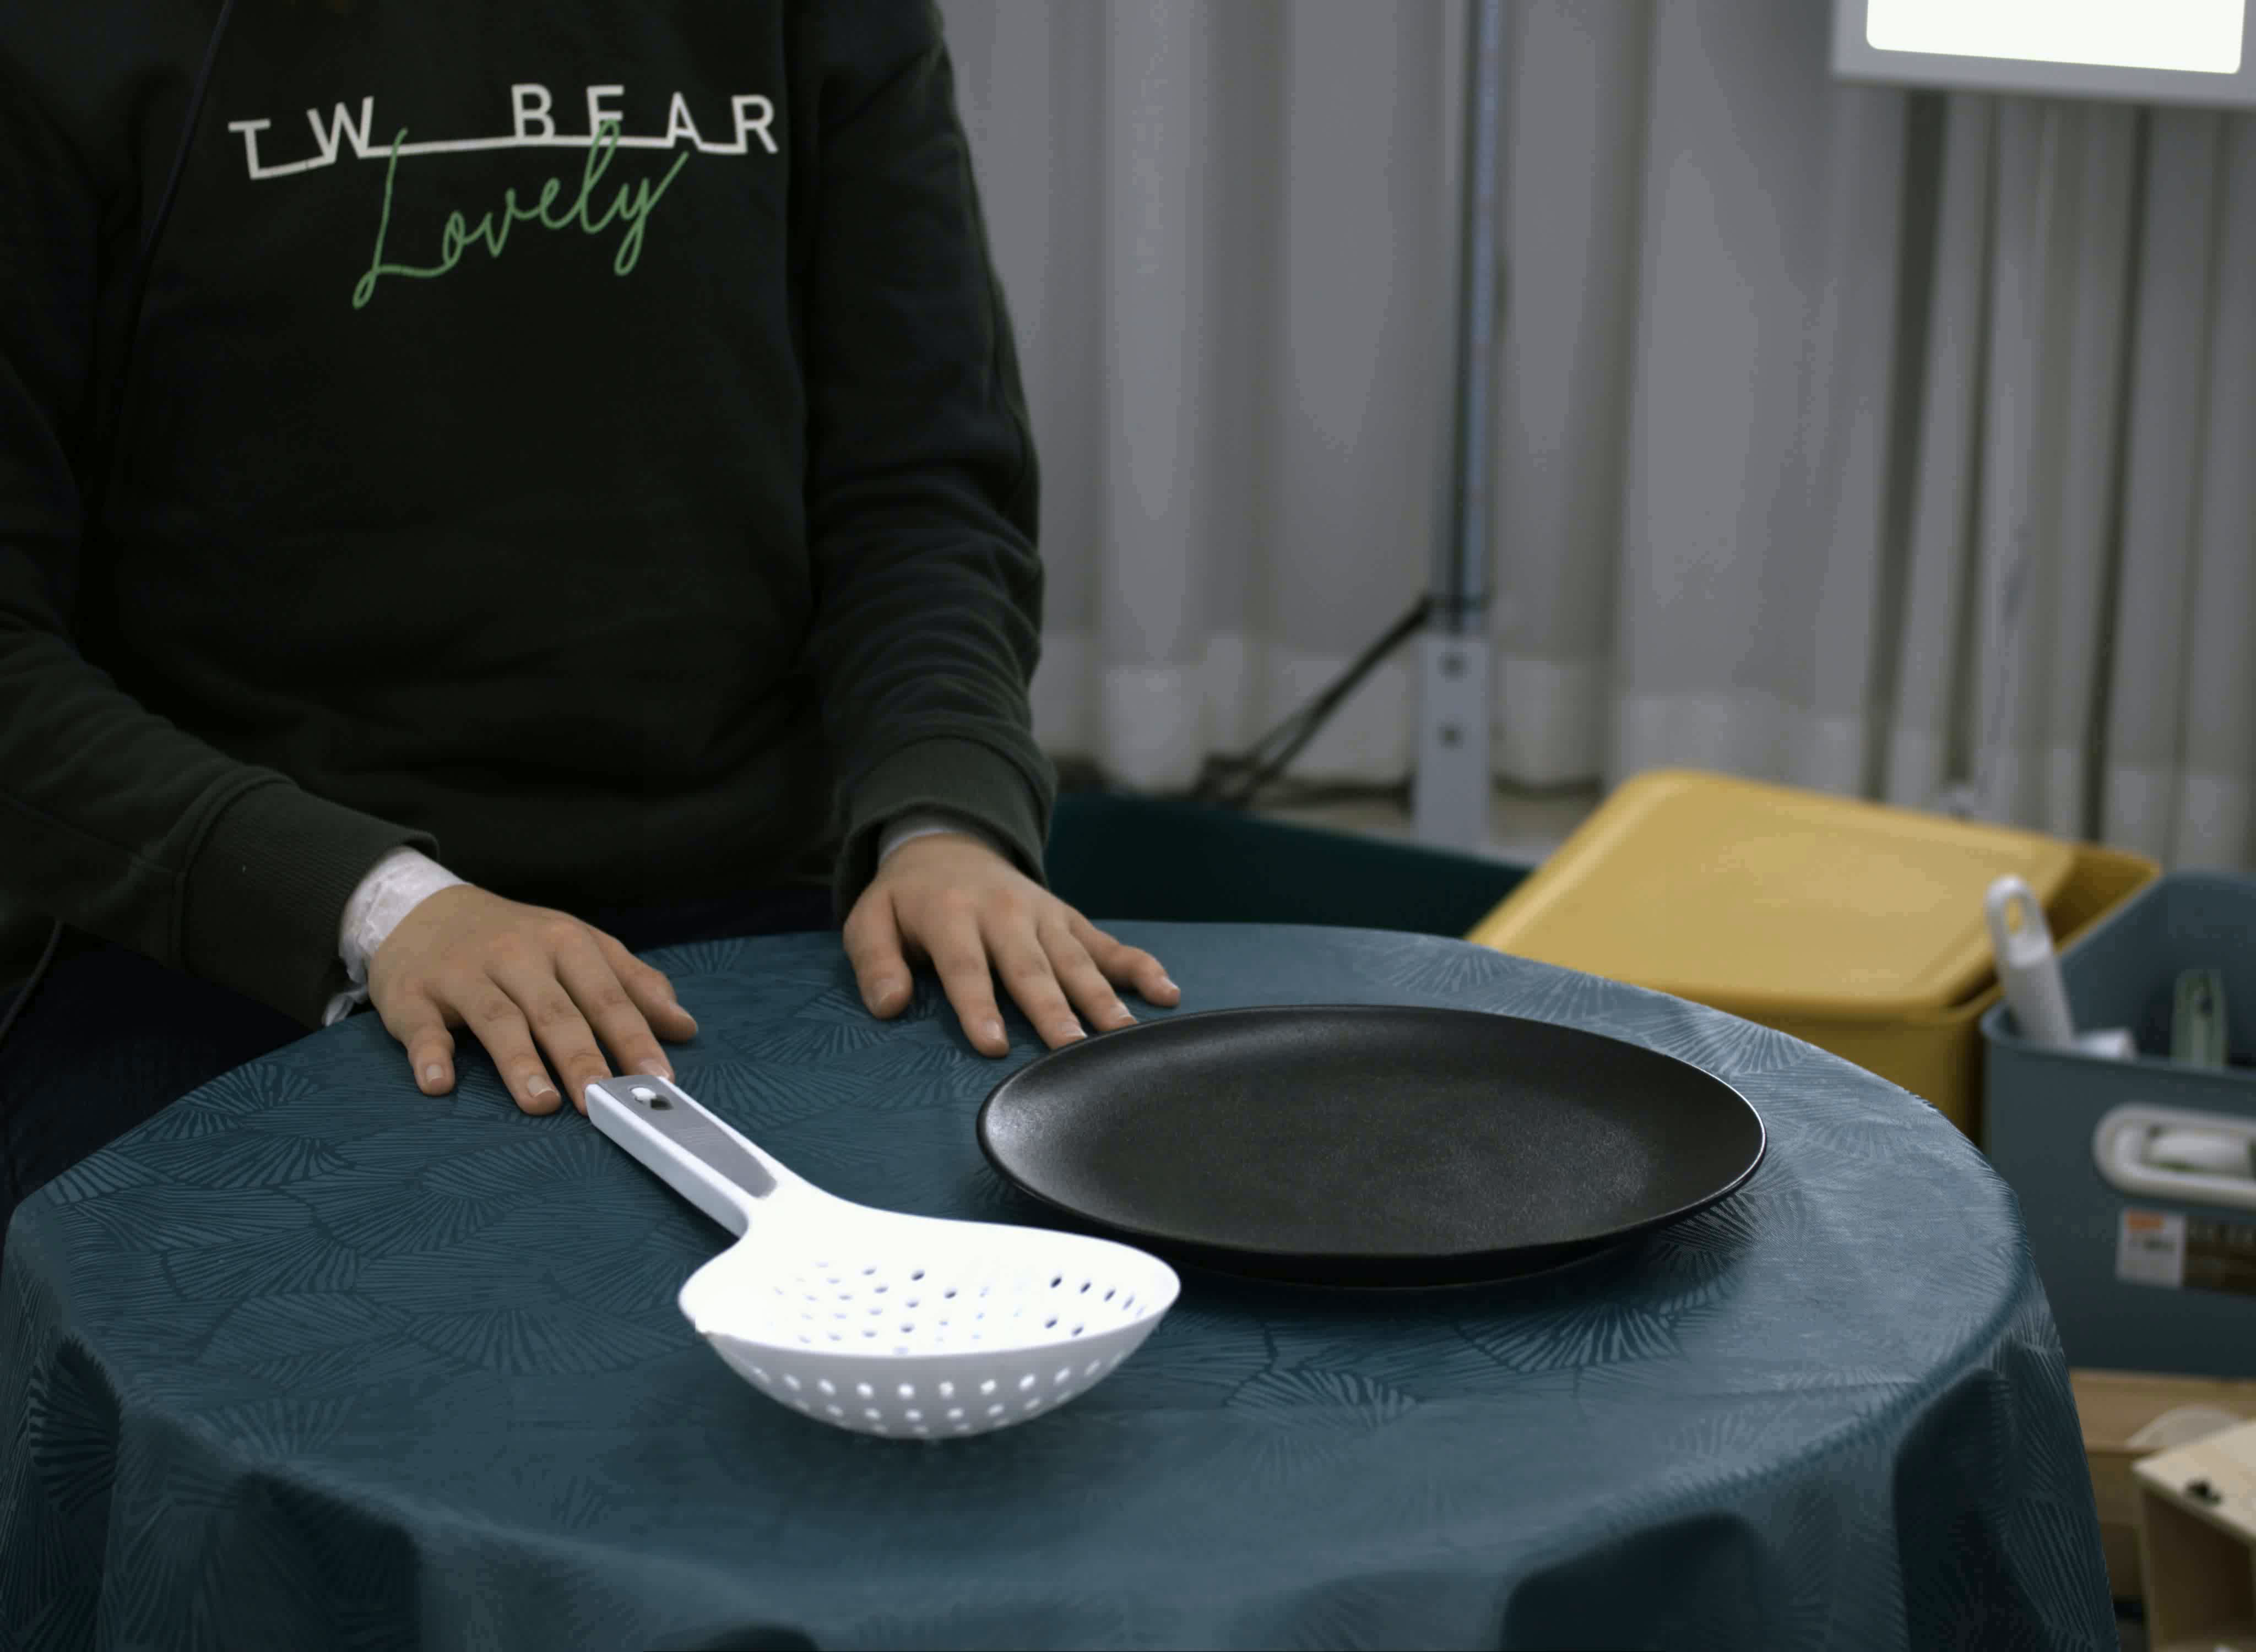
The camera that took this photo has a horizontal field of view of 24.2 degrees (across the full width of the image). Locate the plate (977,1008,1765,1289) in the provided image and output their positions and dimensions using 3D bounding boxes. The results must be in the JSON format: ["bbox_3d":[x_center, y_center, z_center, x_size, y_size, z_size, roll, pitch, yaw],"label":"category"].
[{"bbox_3d":[0.074,0.101,1.626,0.243,0.023,0.243,1,16,0],"label":"plate"}]

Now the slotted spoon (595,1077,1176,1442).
[{"bbox_3d":[-0.095,0.116,1.527,0.136,0.046,0.346,-4,15,-22],"label":"slotted spoon"}]
